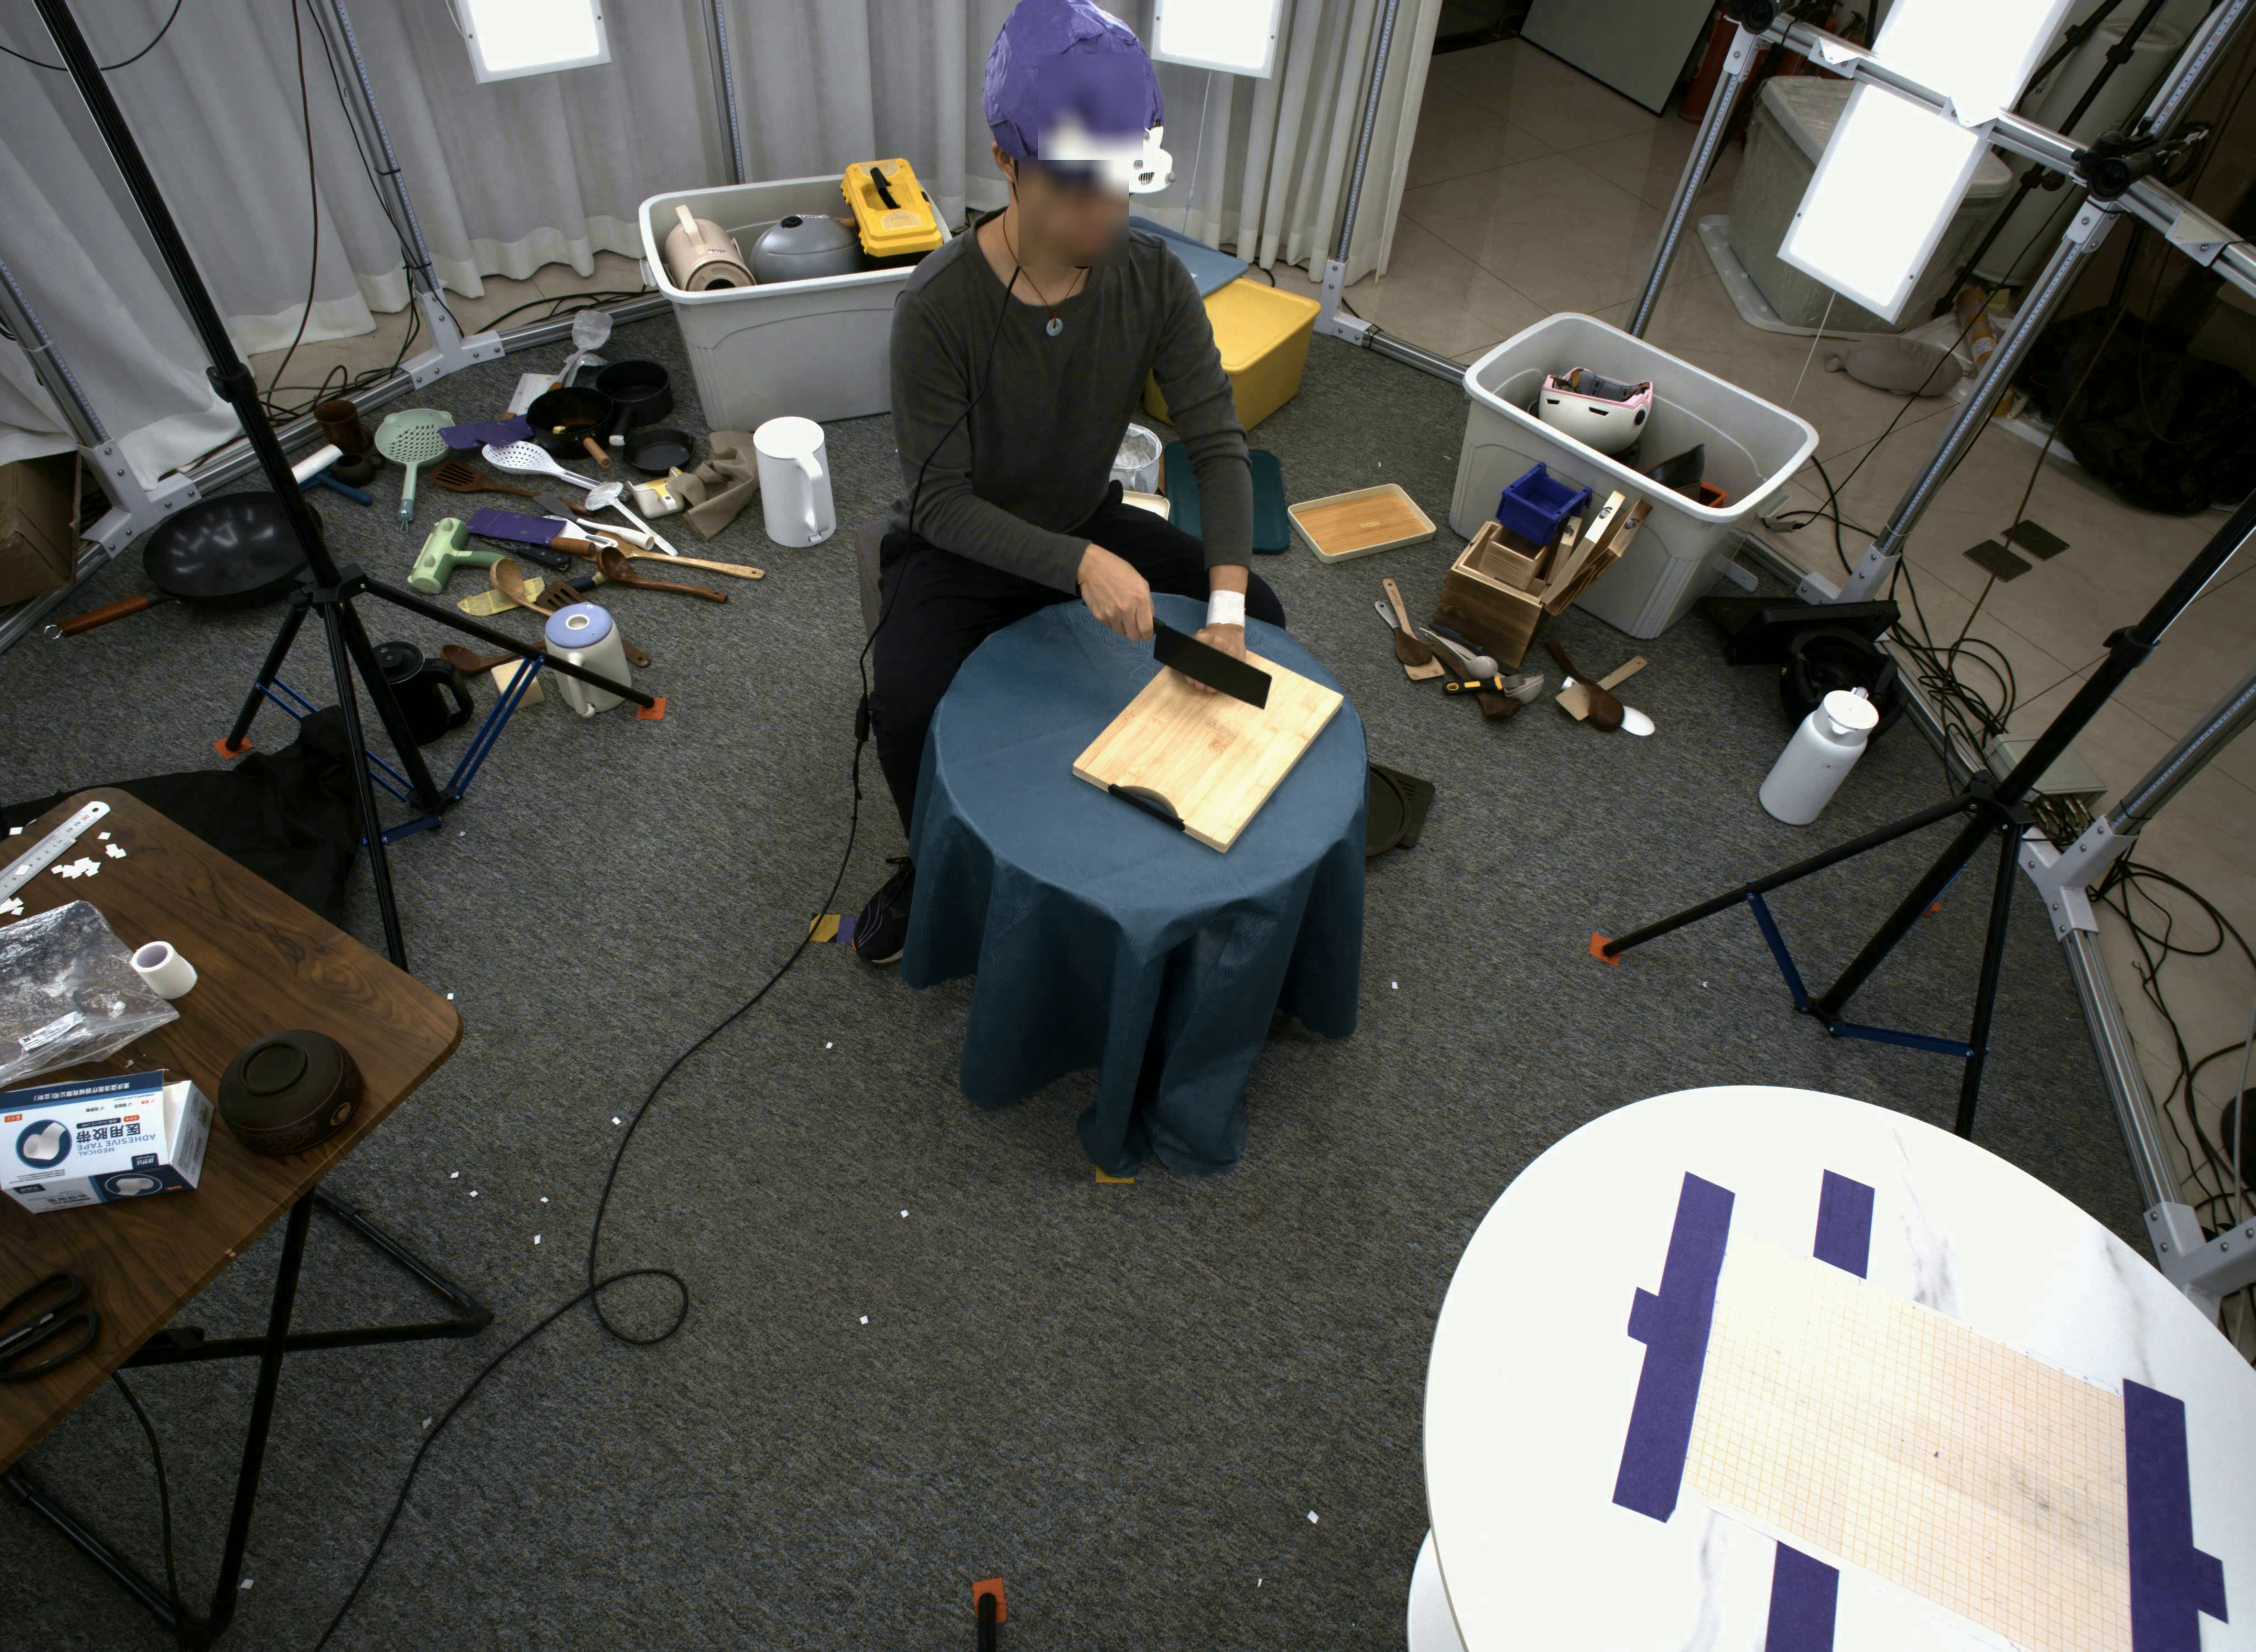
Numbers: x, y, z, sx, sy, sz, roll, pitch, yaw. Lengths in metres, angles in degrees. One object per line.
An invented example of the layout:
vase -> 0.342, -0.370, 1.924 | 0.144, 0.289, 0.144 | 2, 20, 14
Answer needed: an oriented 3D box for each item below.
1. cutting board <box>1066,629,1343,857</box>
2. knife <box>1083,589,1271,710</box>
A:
cutting board -> 0.113, -0.125, 1.773 | 0.253, 0.023, 0.354 | 27, 52, 19
knife -> 0.064, -0.248, 1.774 | 0.305, 0.079, 0.021 | 32, 49, 17
